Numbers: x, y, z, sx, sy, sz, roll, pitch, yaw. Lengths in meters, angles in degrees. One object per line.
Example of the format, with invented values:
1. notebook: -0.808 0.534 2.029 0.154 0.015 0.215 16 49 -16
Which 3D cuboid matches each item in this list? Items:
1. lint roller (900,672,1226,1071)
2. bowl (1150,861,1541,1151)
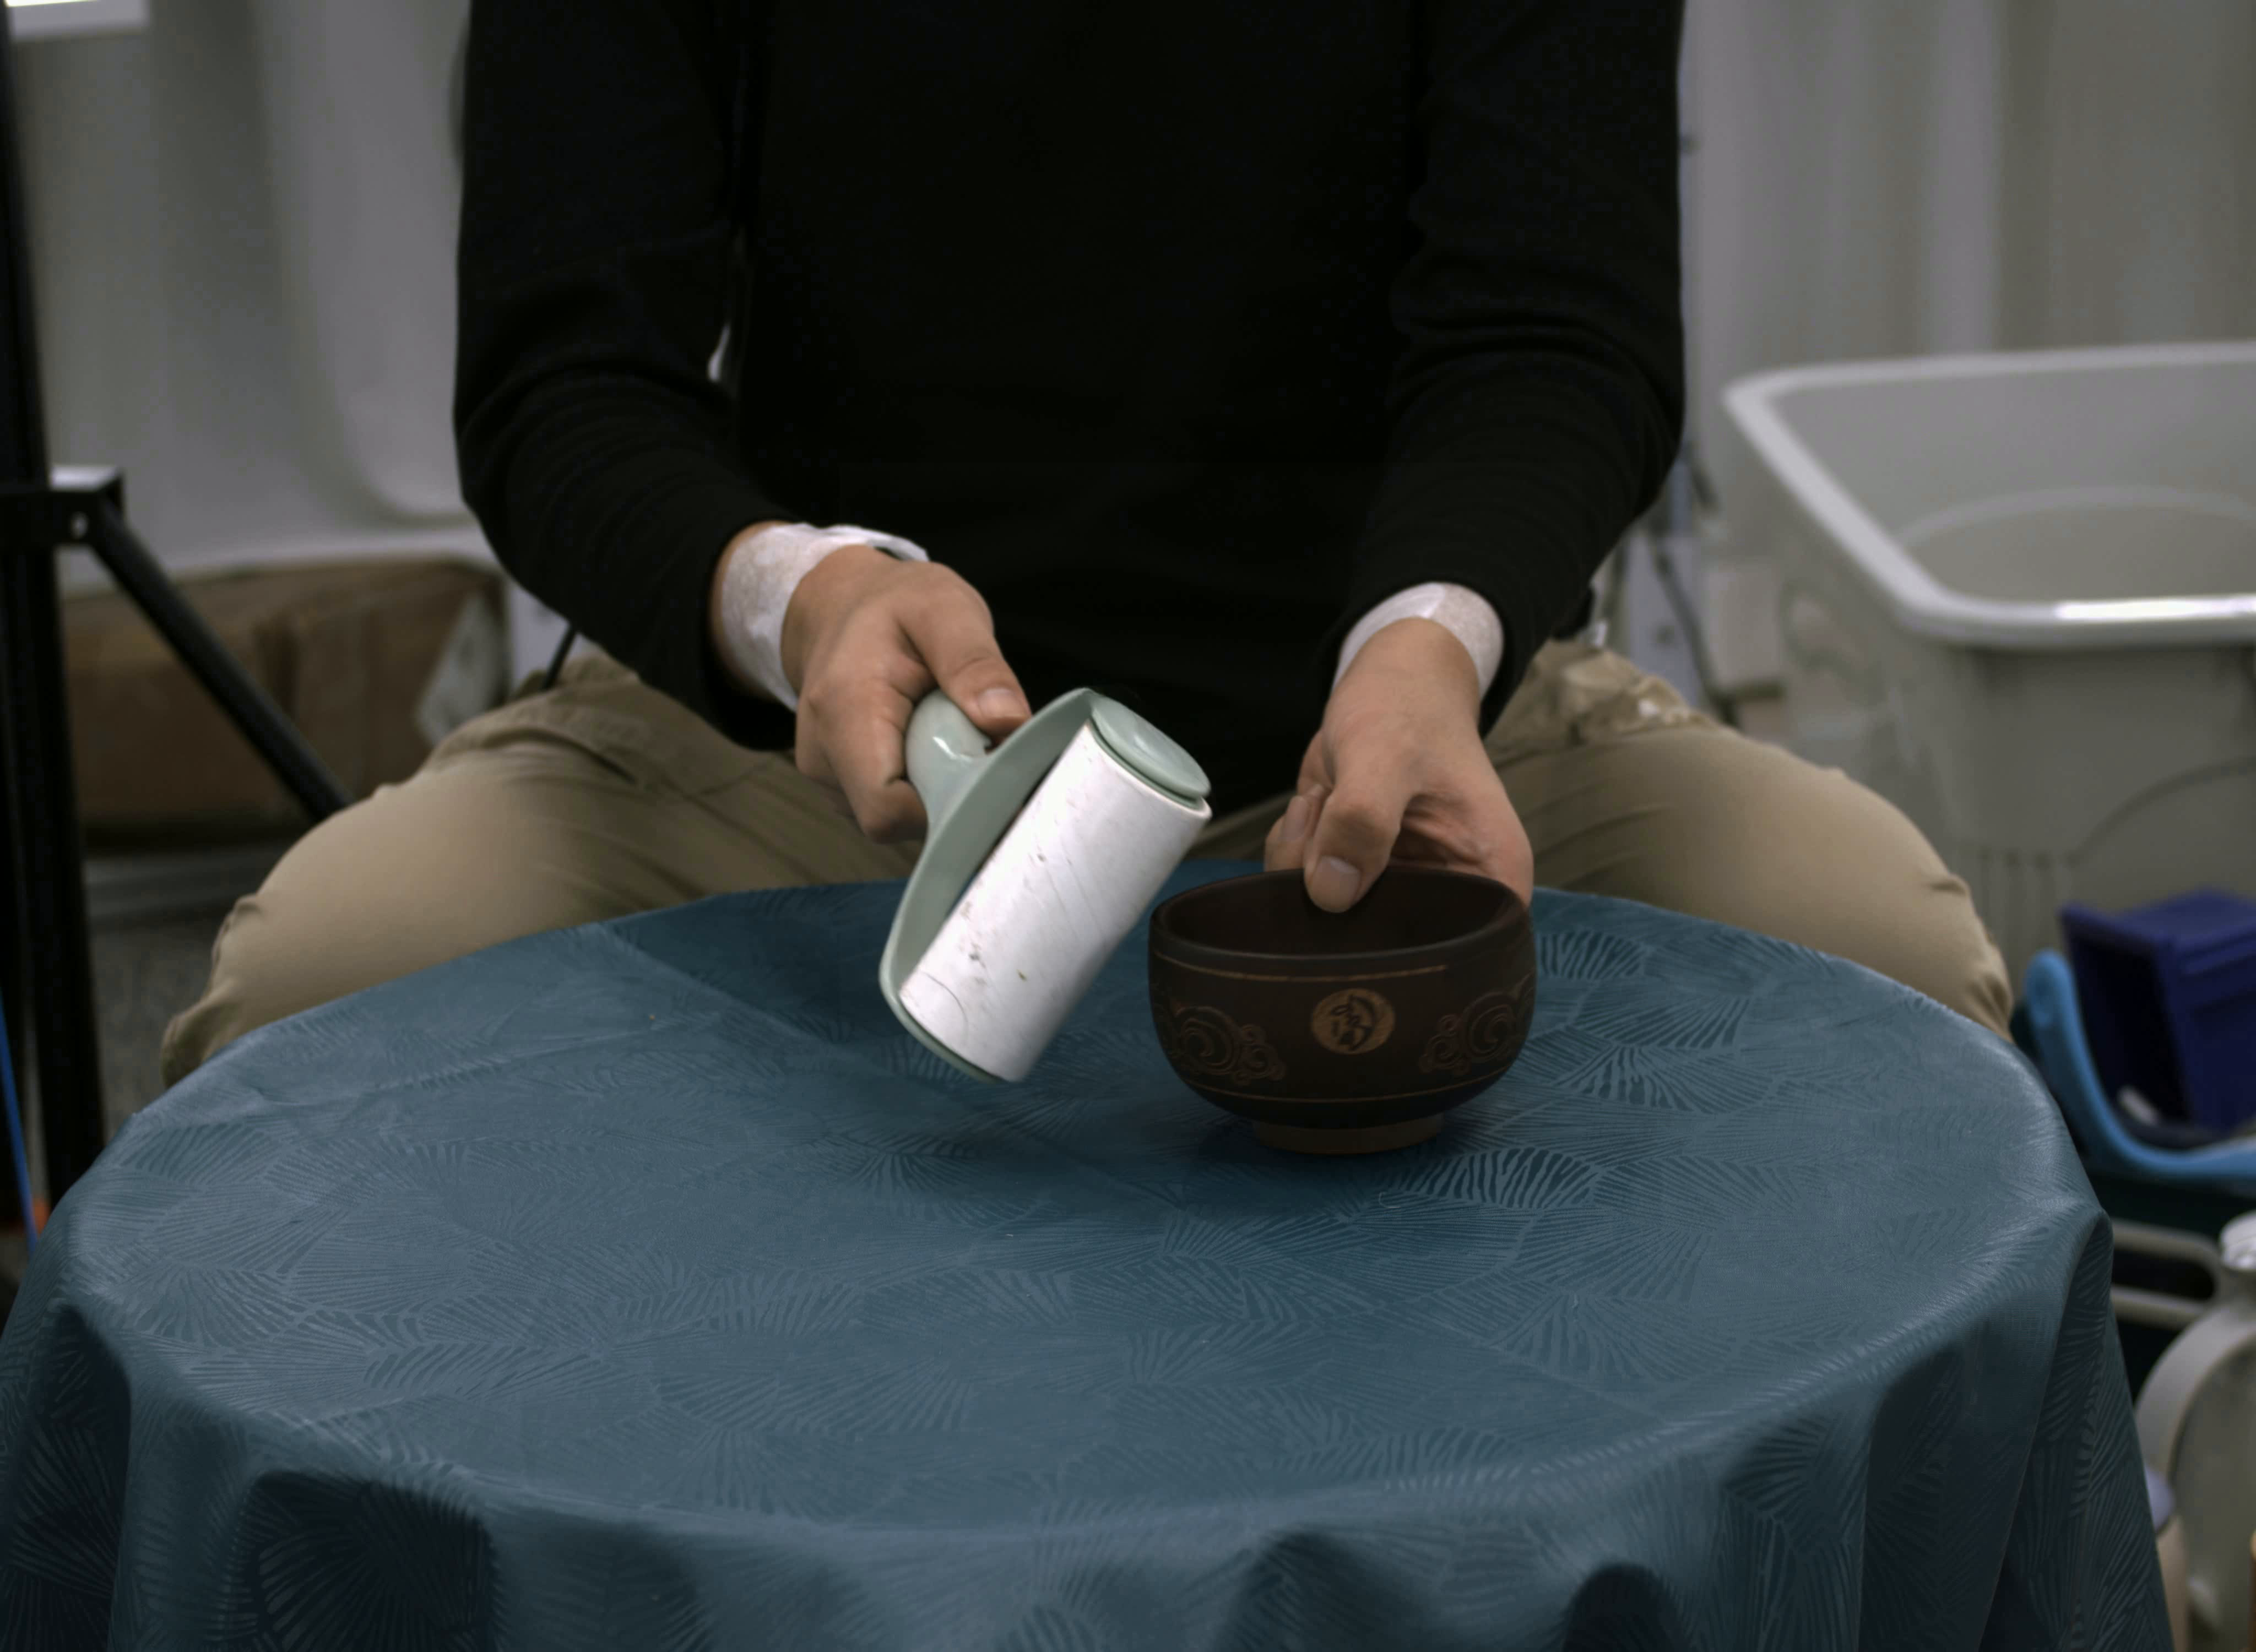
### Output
1. lint roller: -0.036 -0.011 1.648 0.047 0.117 0.201 28 12 -25
2. bowl: 0.066 0.057 1.591 0.117 0.070 0.118 -4 11 -1
